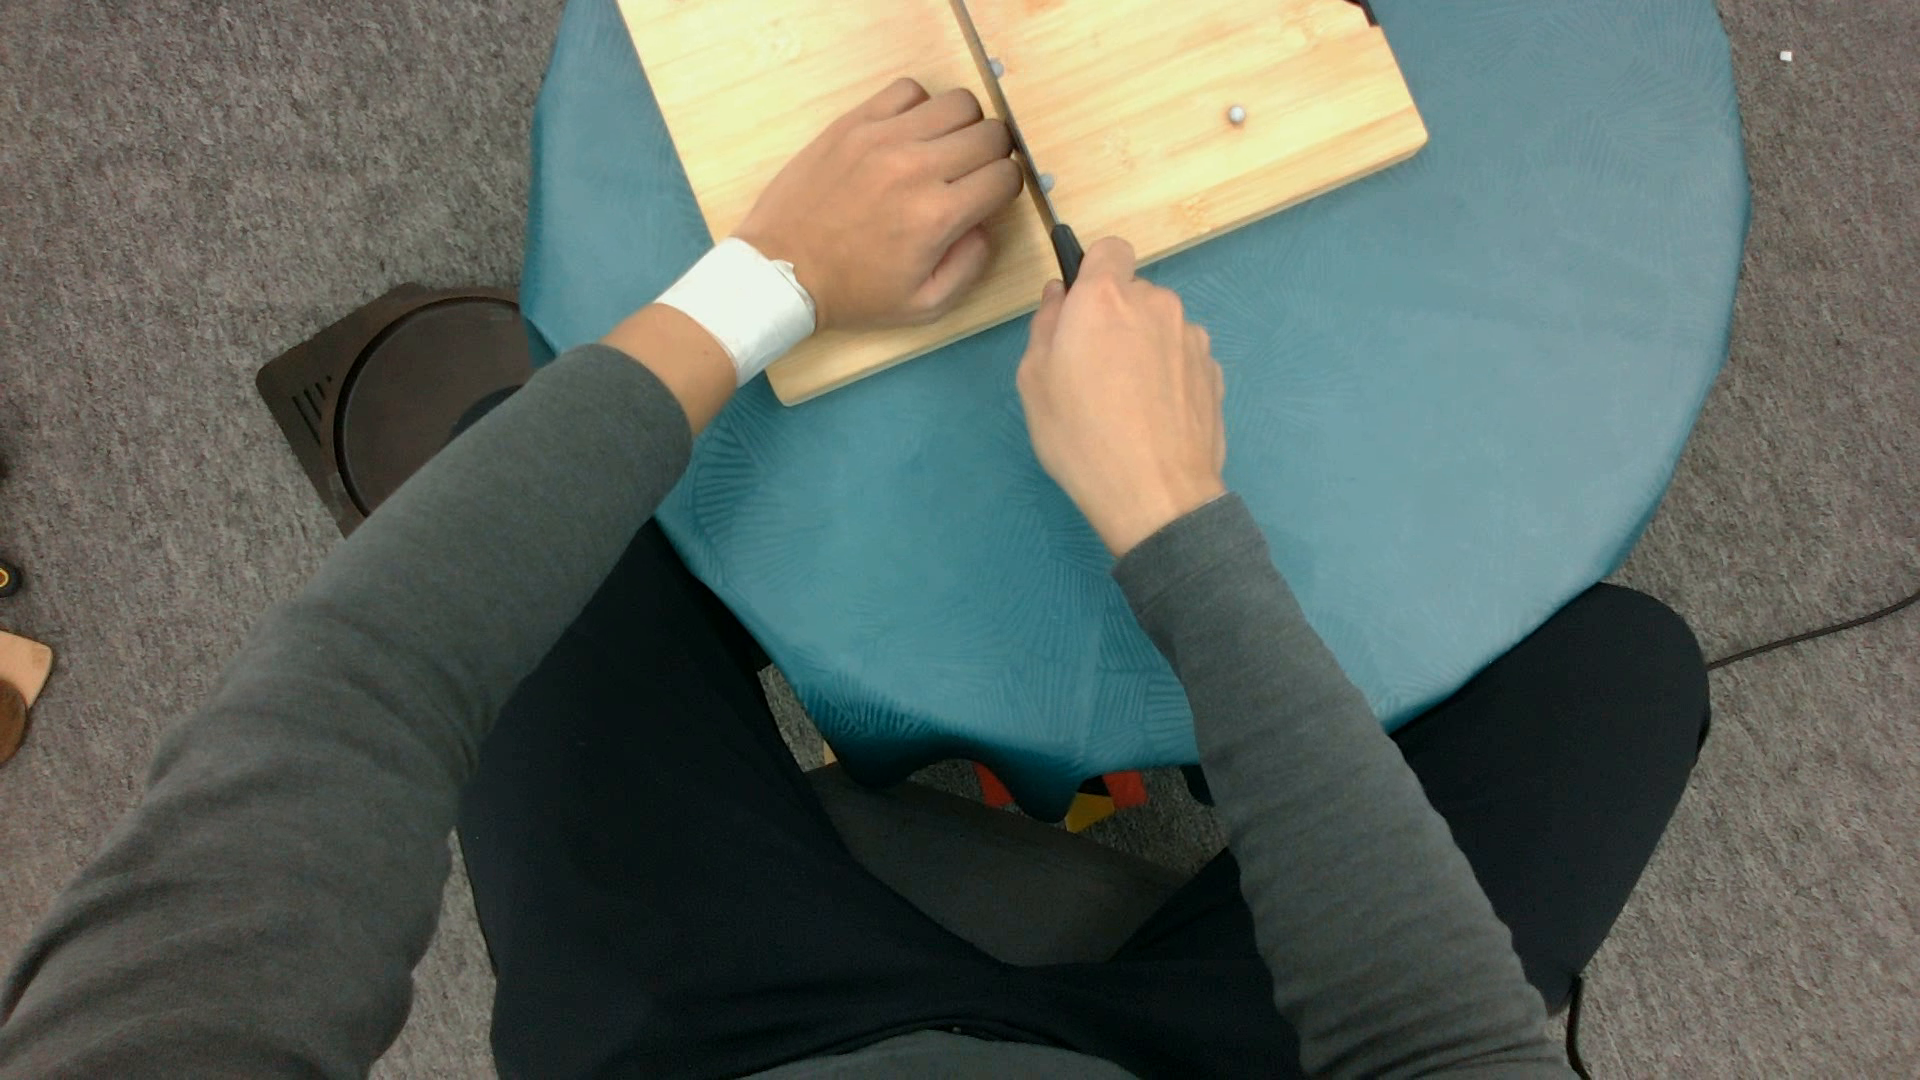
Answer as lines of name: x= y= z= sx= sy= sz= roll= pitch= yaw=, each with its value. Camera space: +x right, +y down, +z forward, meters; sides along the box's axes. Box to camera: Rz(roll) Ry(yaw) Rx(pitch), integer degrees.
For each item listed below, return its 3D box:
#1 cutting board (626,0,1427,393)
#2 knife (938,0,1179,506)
cutting board: x=0.023 y=-0.245 z=0.683 sx=0.349 sy=0.023 sz=0.251 roll=-23 pitch=86 yaw=-3
knife: x=0.031 y=-0.156 z=0.620 sx=0.021 sy=0.081 sz=0.302 roll=-23 pitch=81 yaw=4
